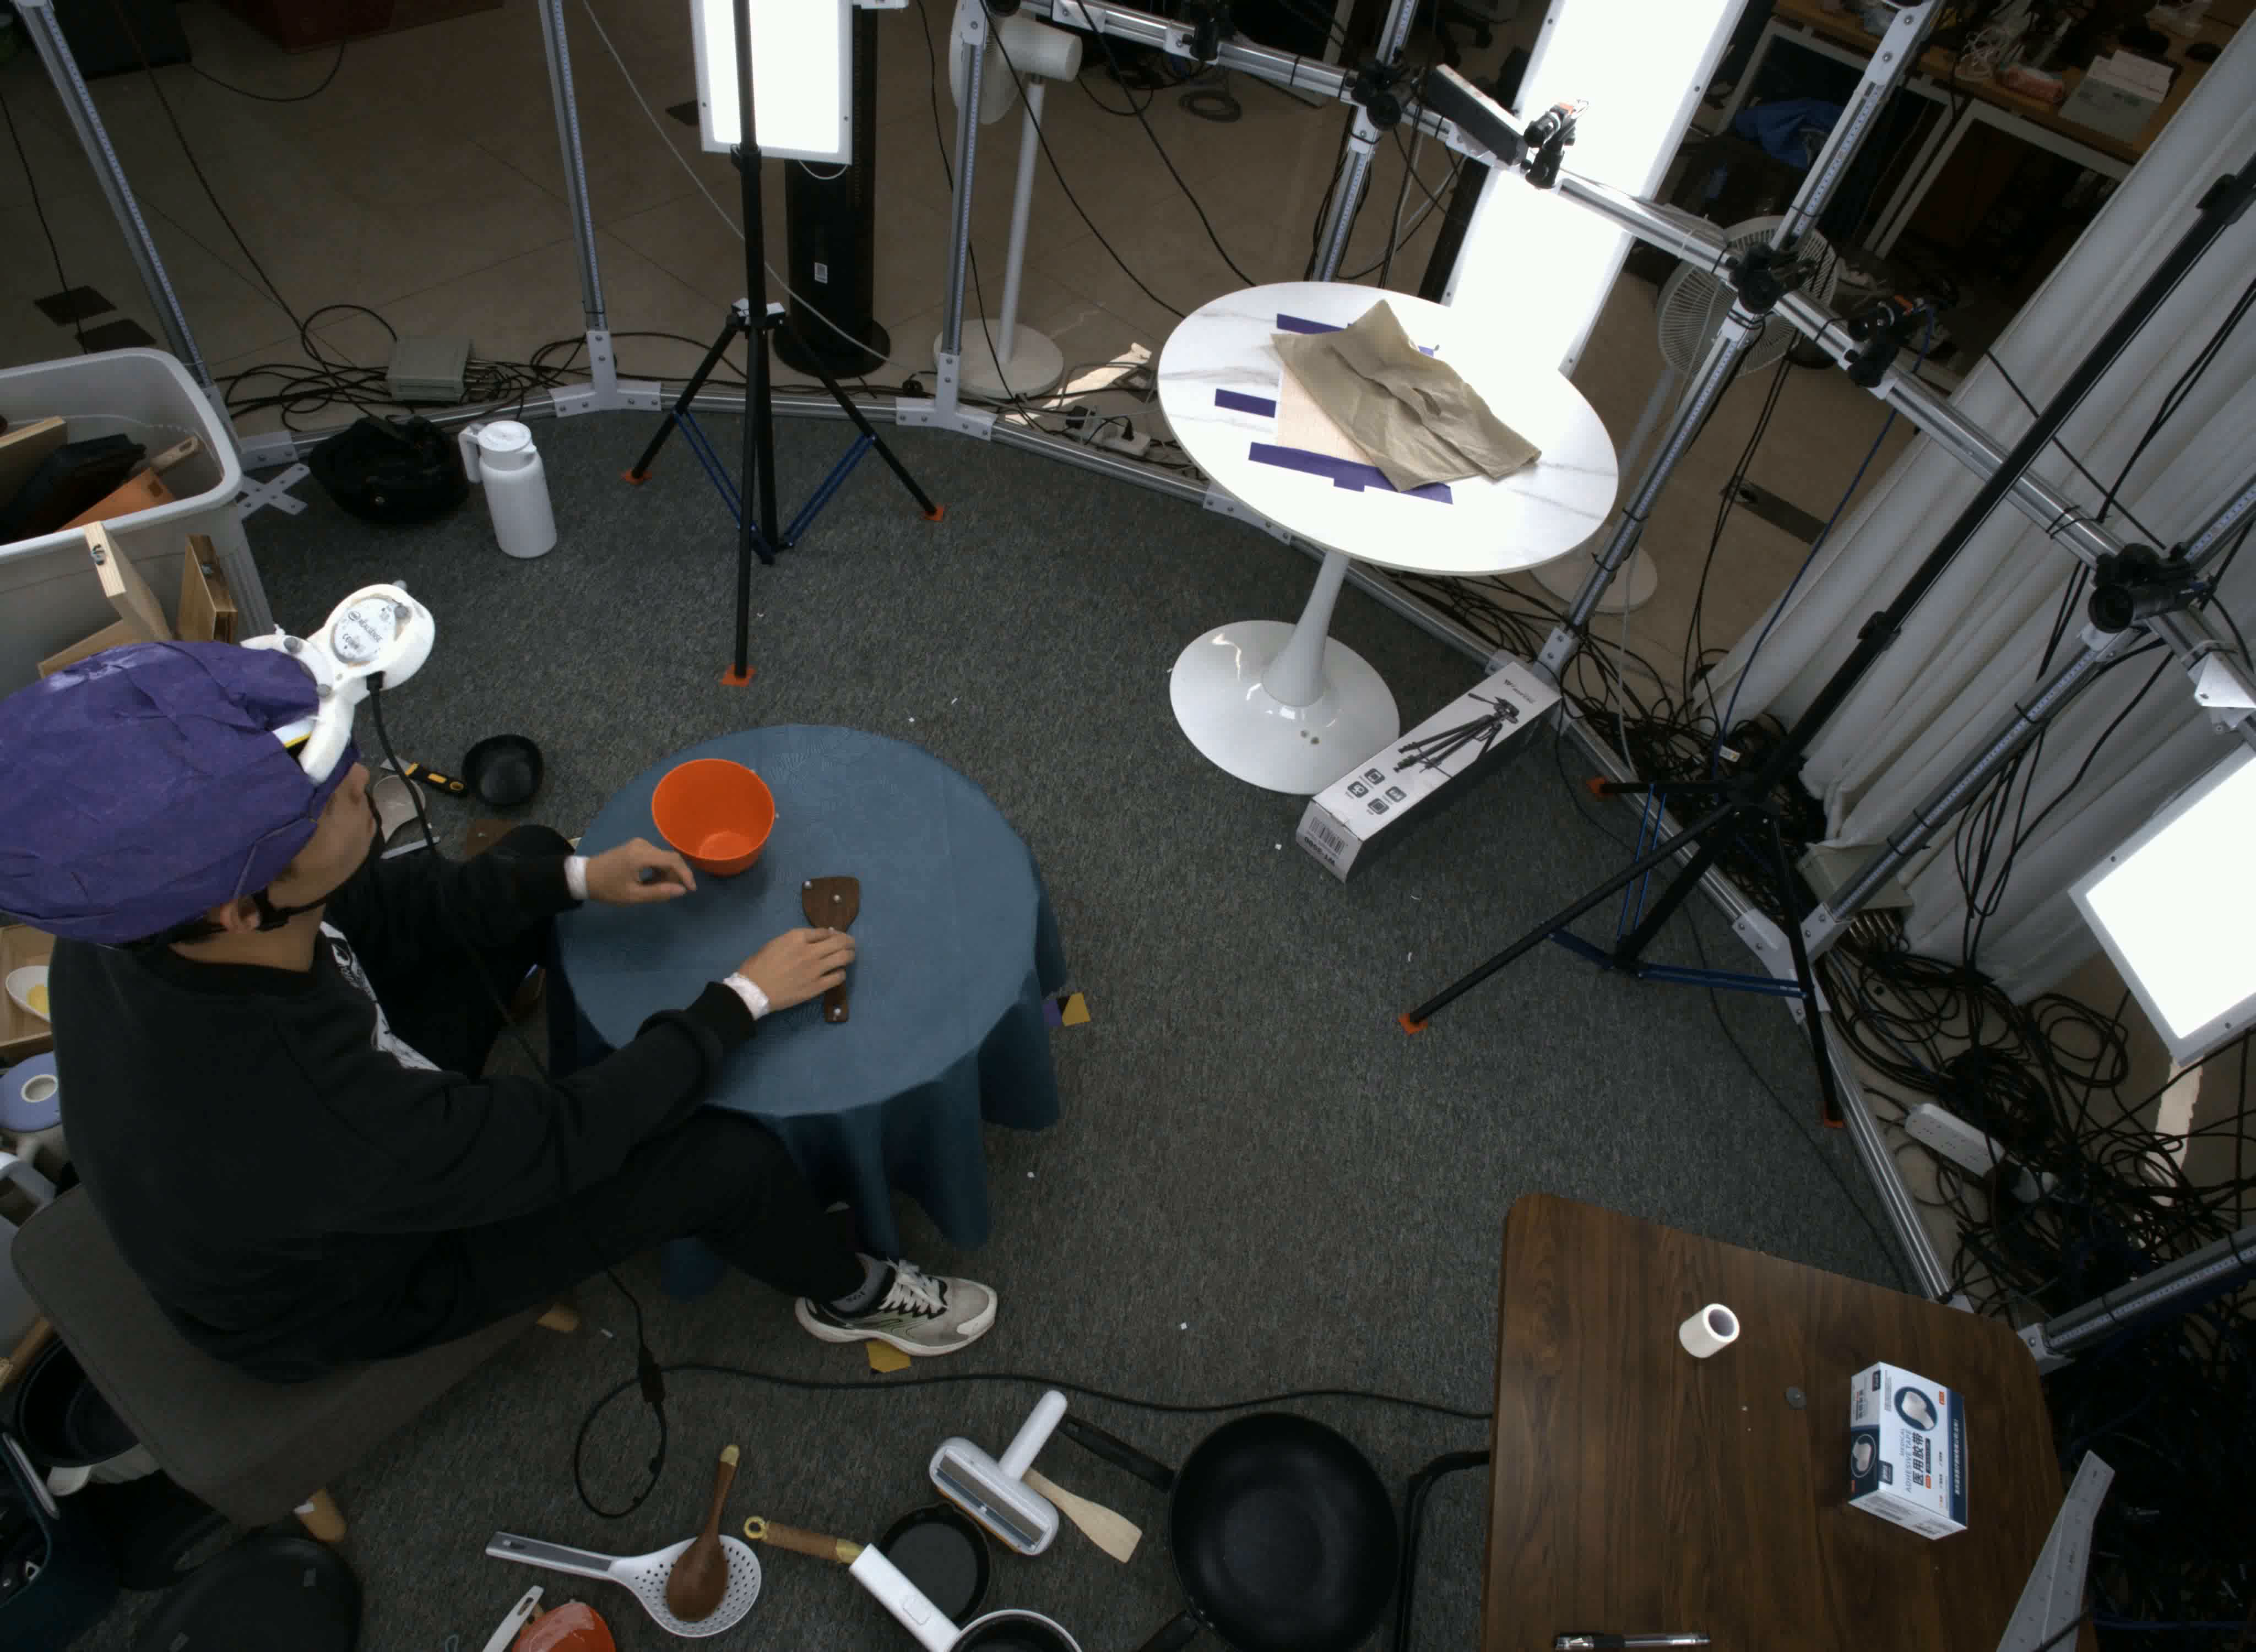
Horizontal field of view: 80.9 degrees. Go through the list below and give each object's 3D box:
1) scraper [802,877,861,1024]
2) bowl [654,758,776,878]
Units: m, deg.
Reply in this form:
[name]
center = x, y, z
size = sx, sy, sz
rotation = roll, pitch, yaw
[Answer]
[scraper]
center = -0.368, 0.151, 1.626
size = 0.076, 0.011, 0.207
rotation = -2, 55, -14
[bowl]
center = -0.520, 0.001, 1.638
size = 0.148, 0.107, 0.145
rotation = 7, 52, -8
